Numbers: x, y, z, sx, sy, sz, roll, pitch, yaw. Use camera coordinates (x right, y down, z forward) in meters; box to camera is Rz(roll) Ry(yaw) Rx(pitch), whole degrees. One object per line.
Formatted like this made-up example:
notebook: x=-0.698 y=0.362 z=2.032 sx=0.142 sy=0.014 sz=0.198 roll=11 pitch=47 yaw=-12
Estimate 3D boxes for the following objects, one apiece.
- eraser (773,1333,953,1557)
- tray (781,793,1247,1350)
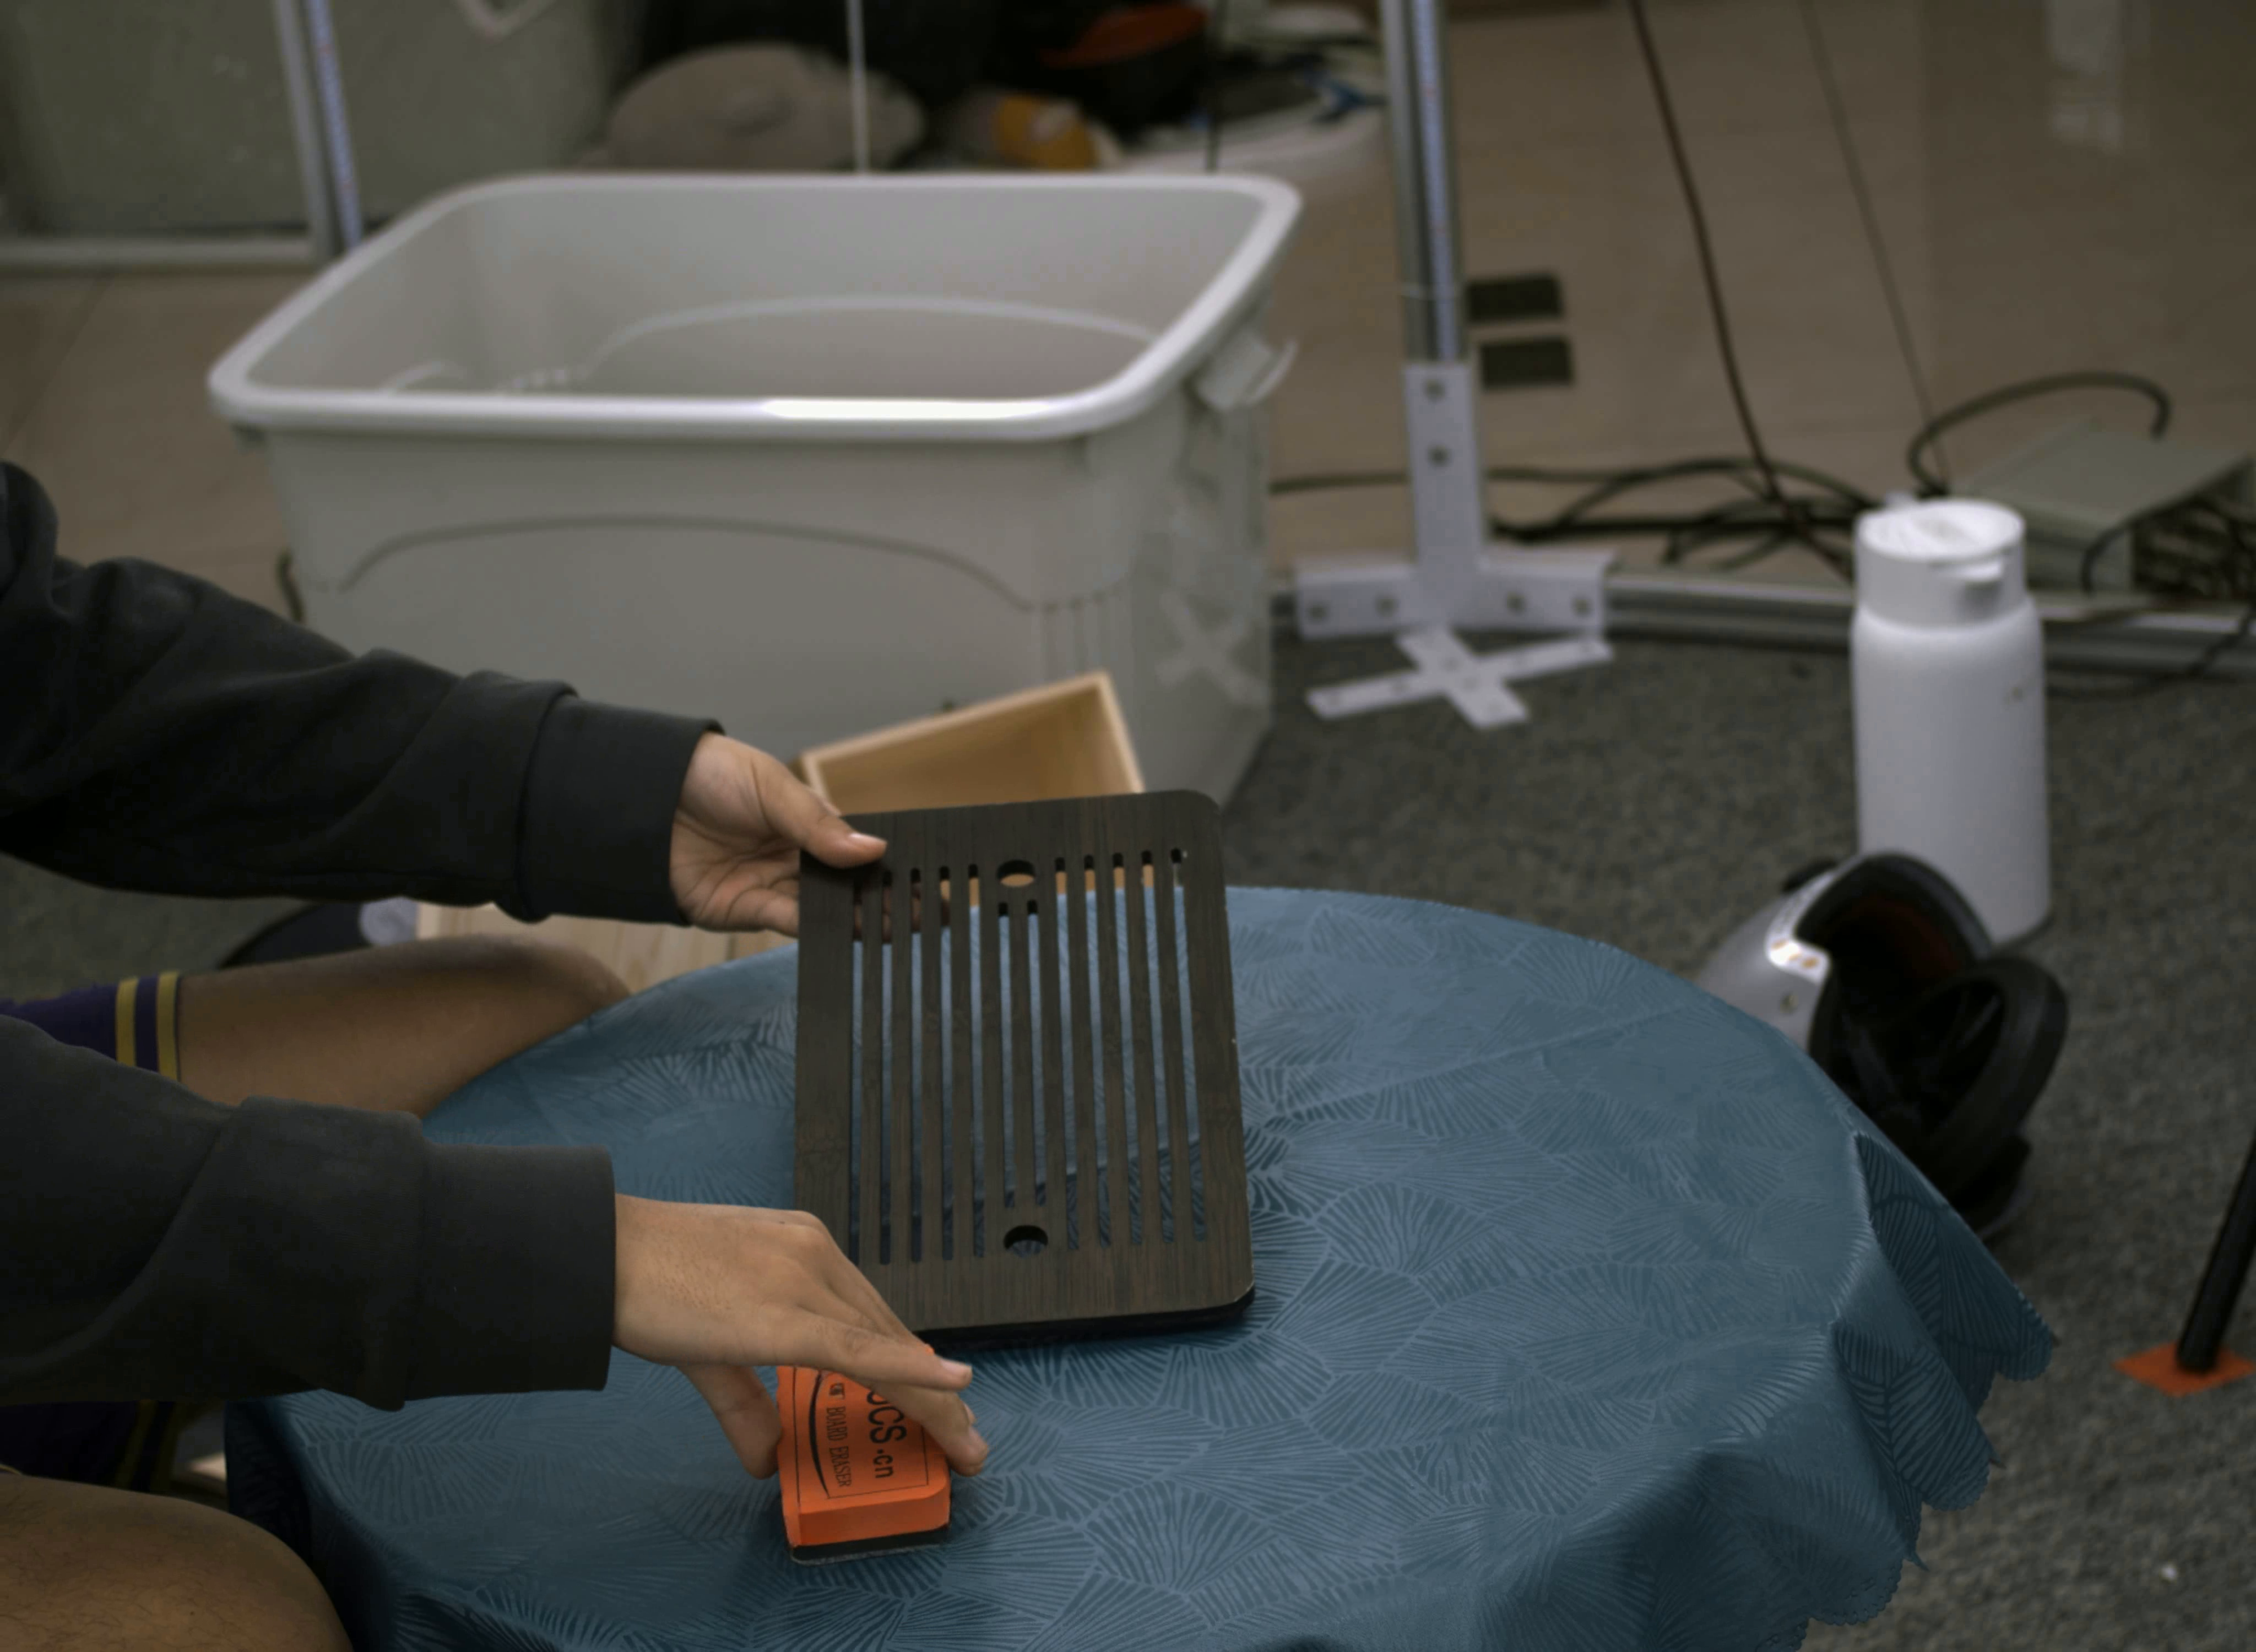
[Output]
eraser: x=-0.093 y=0.214 z=1.973 sx=0.059 sy=0.023 sz=0.106 roll=-8 pitch=26 yaw=-2
tray: x=-0.045 y=0.091 z=2.160 sx=0.170 sy=0.019 sz=0.300 roll=-4 pitch=39 yaw=1
